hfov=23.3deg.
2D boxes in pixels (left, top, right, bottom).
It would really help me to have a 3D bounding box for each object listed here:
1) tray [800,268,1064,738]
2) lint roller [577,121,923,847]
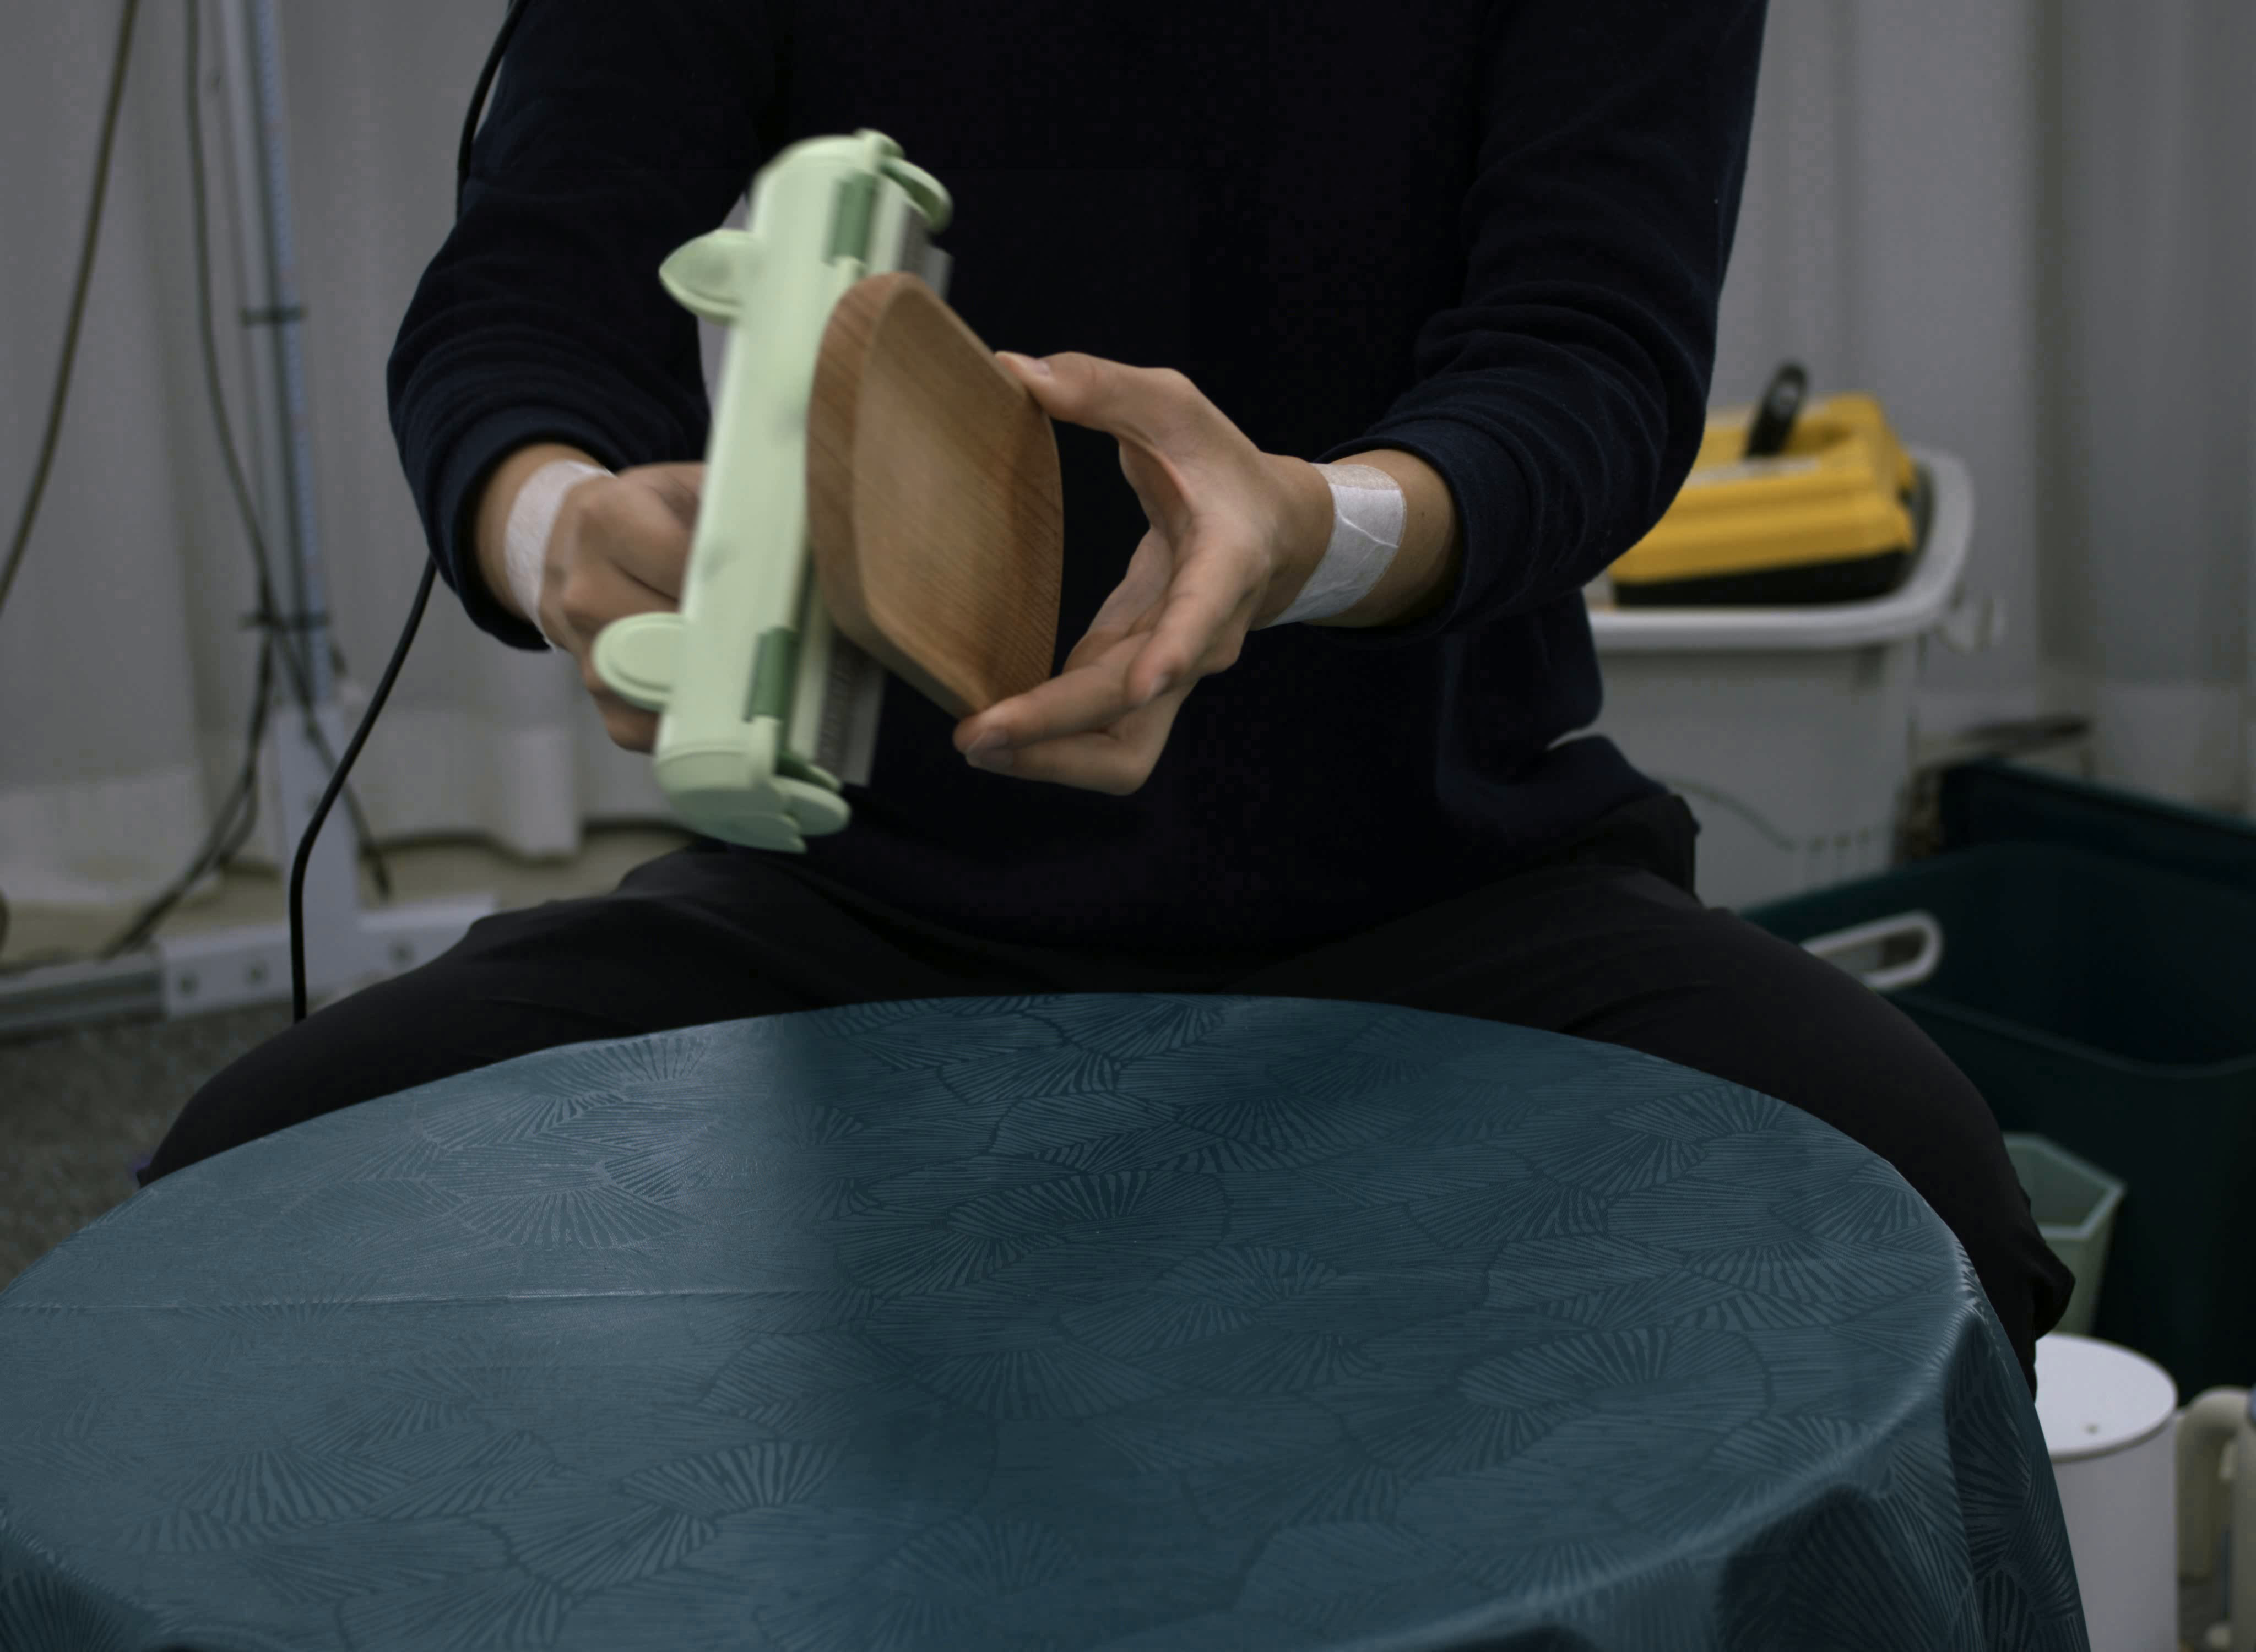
[{"bbox_3d":[-0.052,-0.087,1.518,0.020,0.102,0.229,3,-9,12],"label":"tray"},{"bbox_3d":[-0.125,-0.083,1.545,0.081,0.201,0.183,17,-22,-23],"label":"lint roller"}]
